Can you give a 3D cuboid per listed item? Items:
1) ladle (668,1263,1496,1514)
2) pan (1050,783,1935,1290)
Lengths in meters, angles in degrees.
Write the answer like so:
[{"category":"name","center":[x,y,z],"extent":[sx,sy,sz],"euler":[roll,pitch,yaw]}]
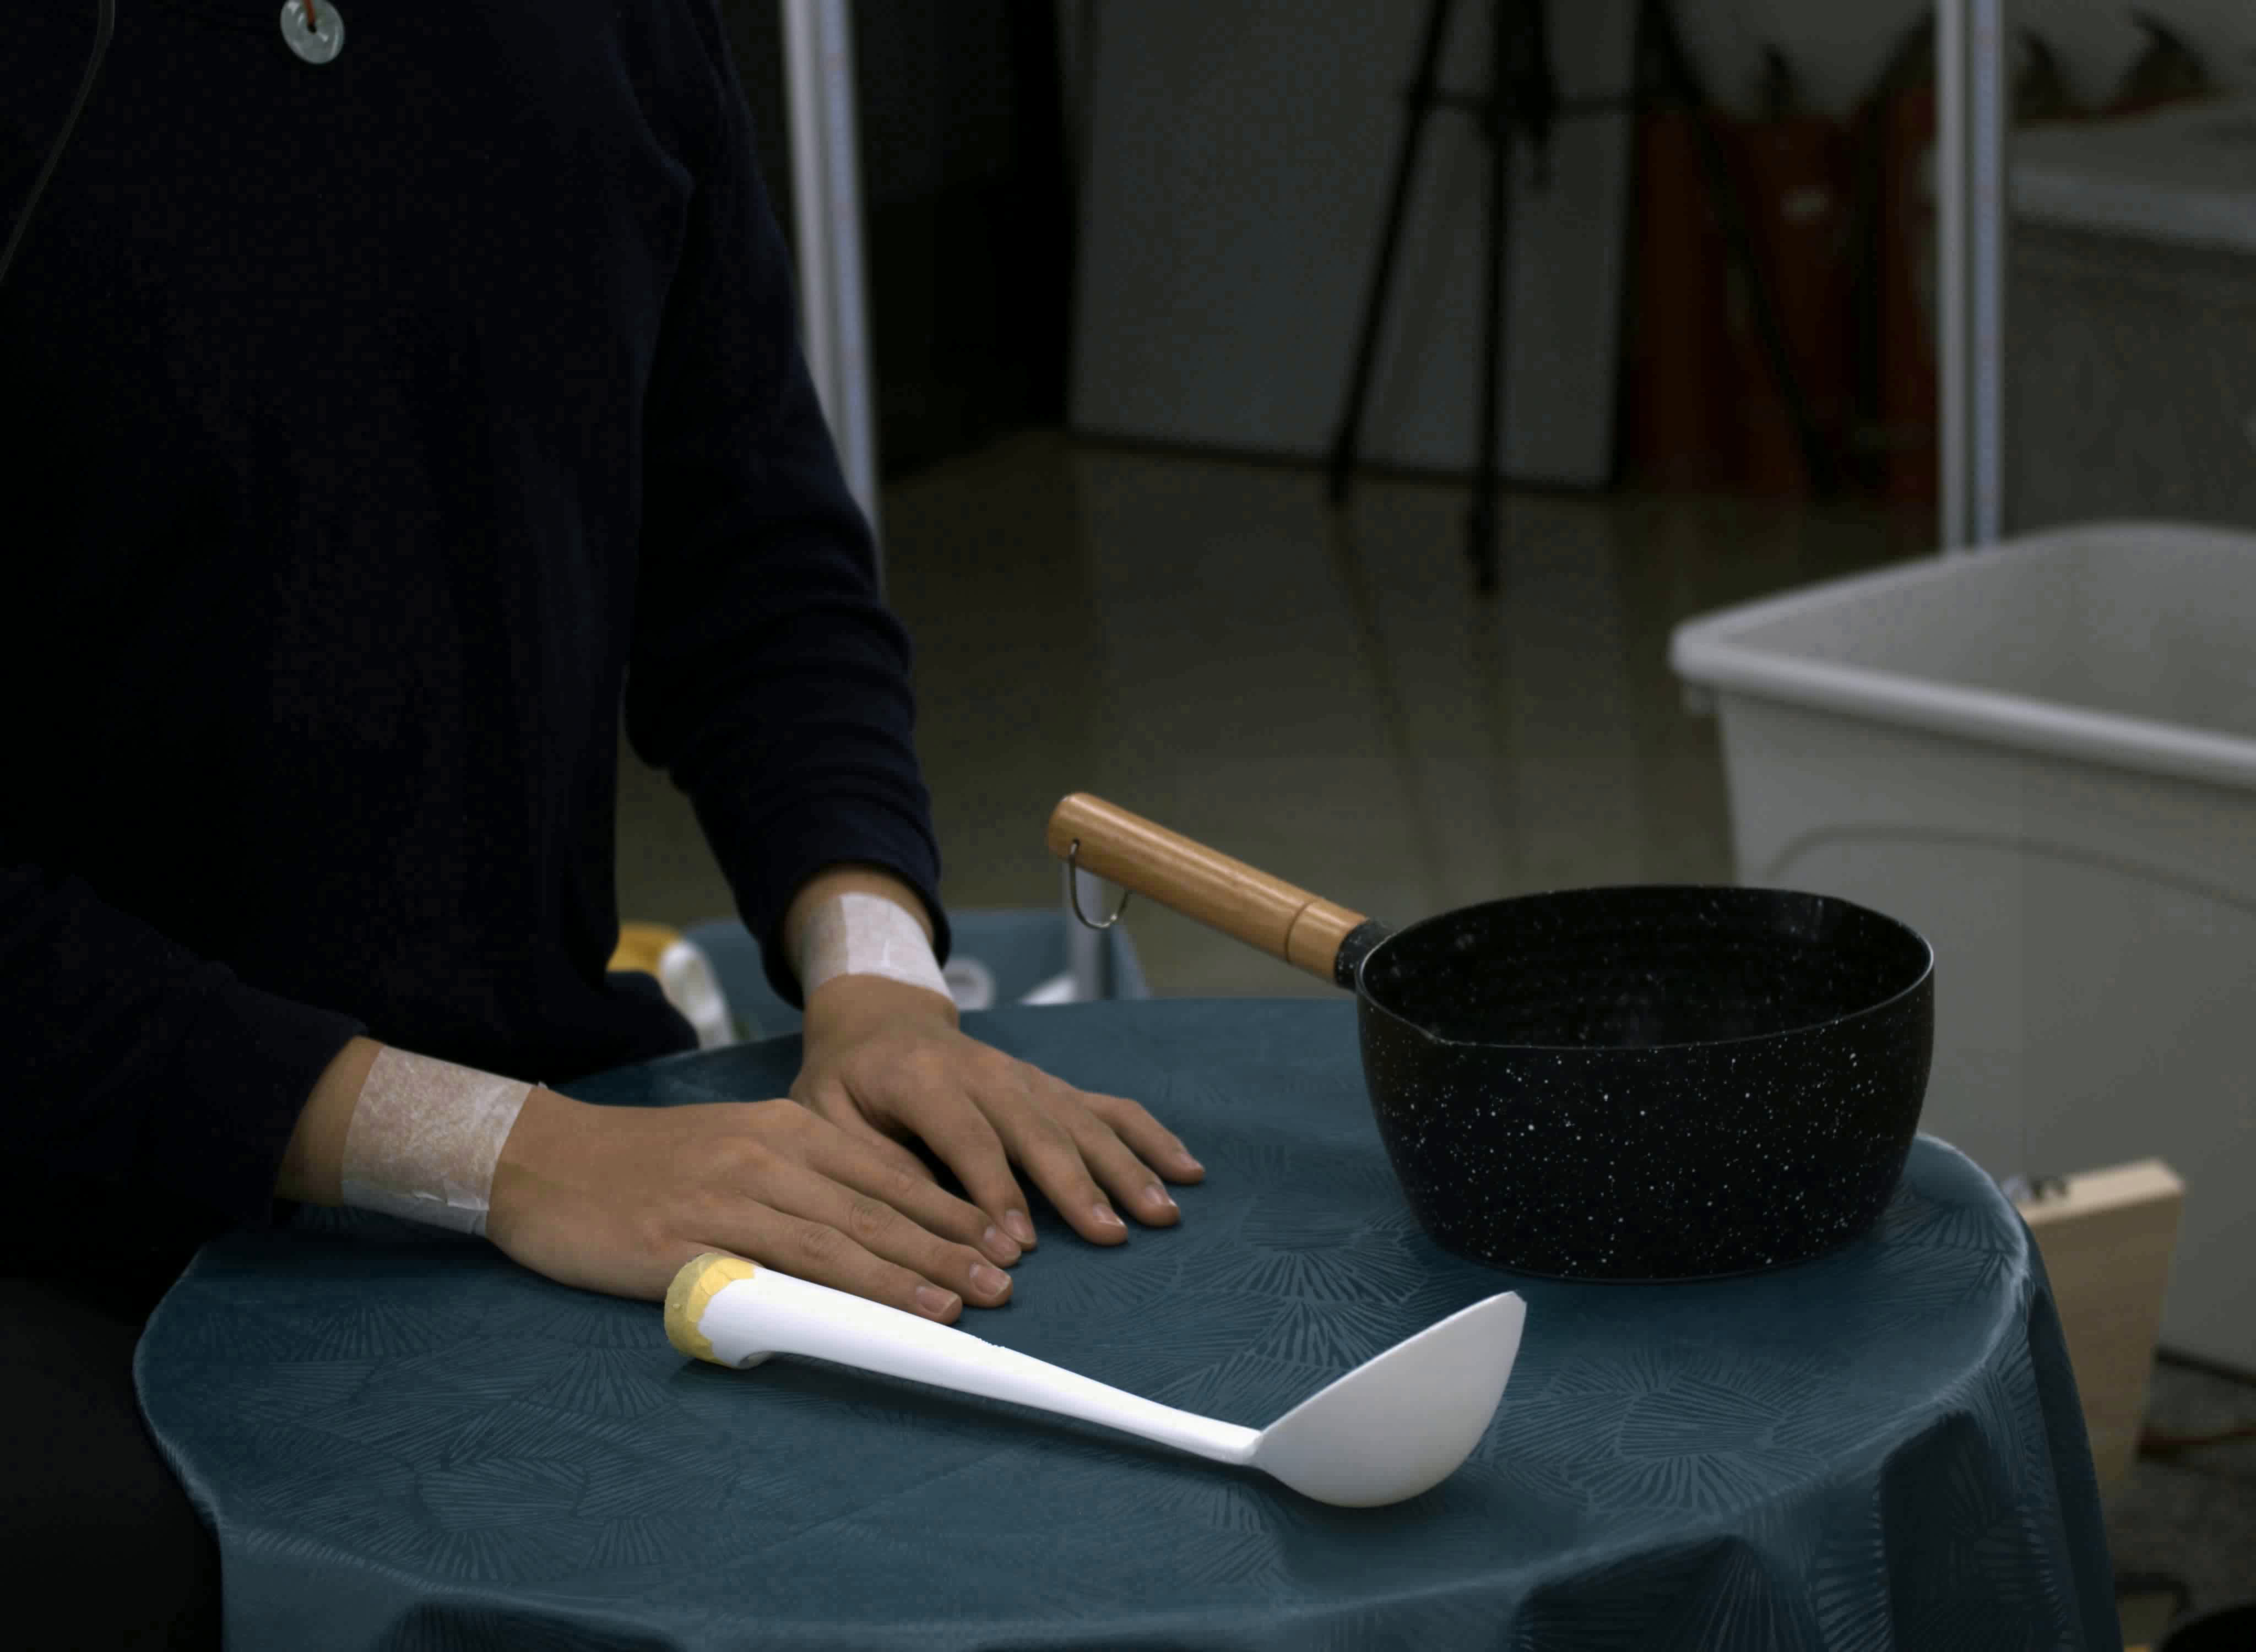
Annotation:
[{"category":"ladle","center":[-0.021,0.146,1.539],"extent":[0.295,0.070,0.088],"euler":[6,23,40]},{"category":"pan","center":[0.105,0.061,1.756],"extent":[0.345,0.109,0.203],"euler":[10,21,41]}]
